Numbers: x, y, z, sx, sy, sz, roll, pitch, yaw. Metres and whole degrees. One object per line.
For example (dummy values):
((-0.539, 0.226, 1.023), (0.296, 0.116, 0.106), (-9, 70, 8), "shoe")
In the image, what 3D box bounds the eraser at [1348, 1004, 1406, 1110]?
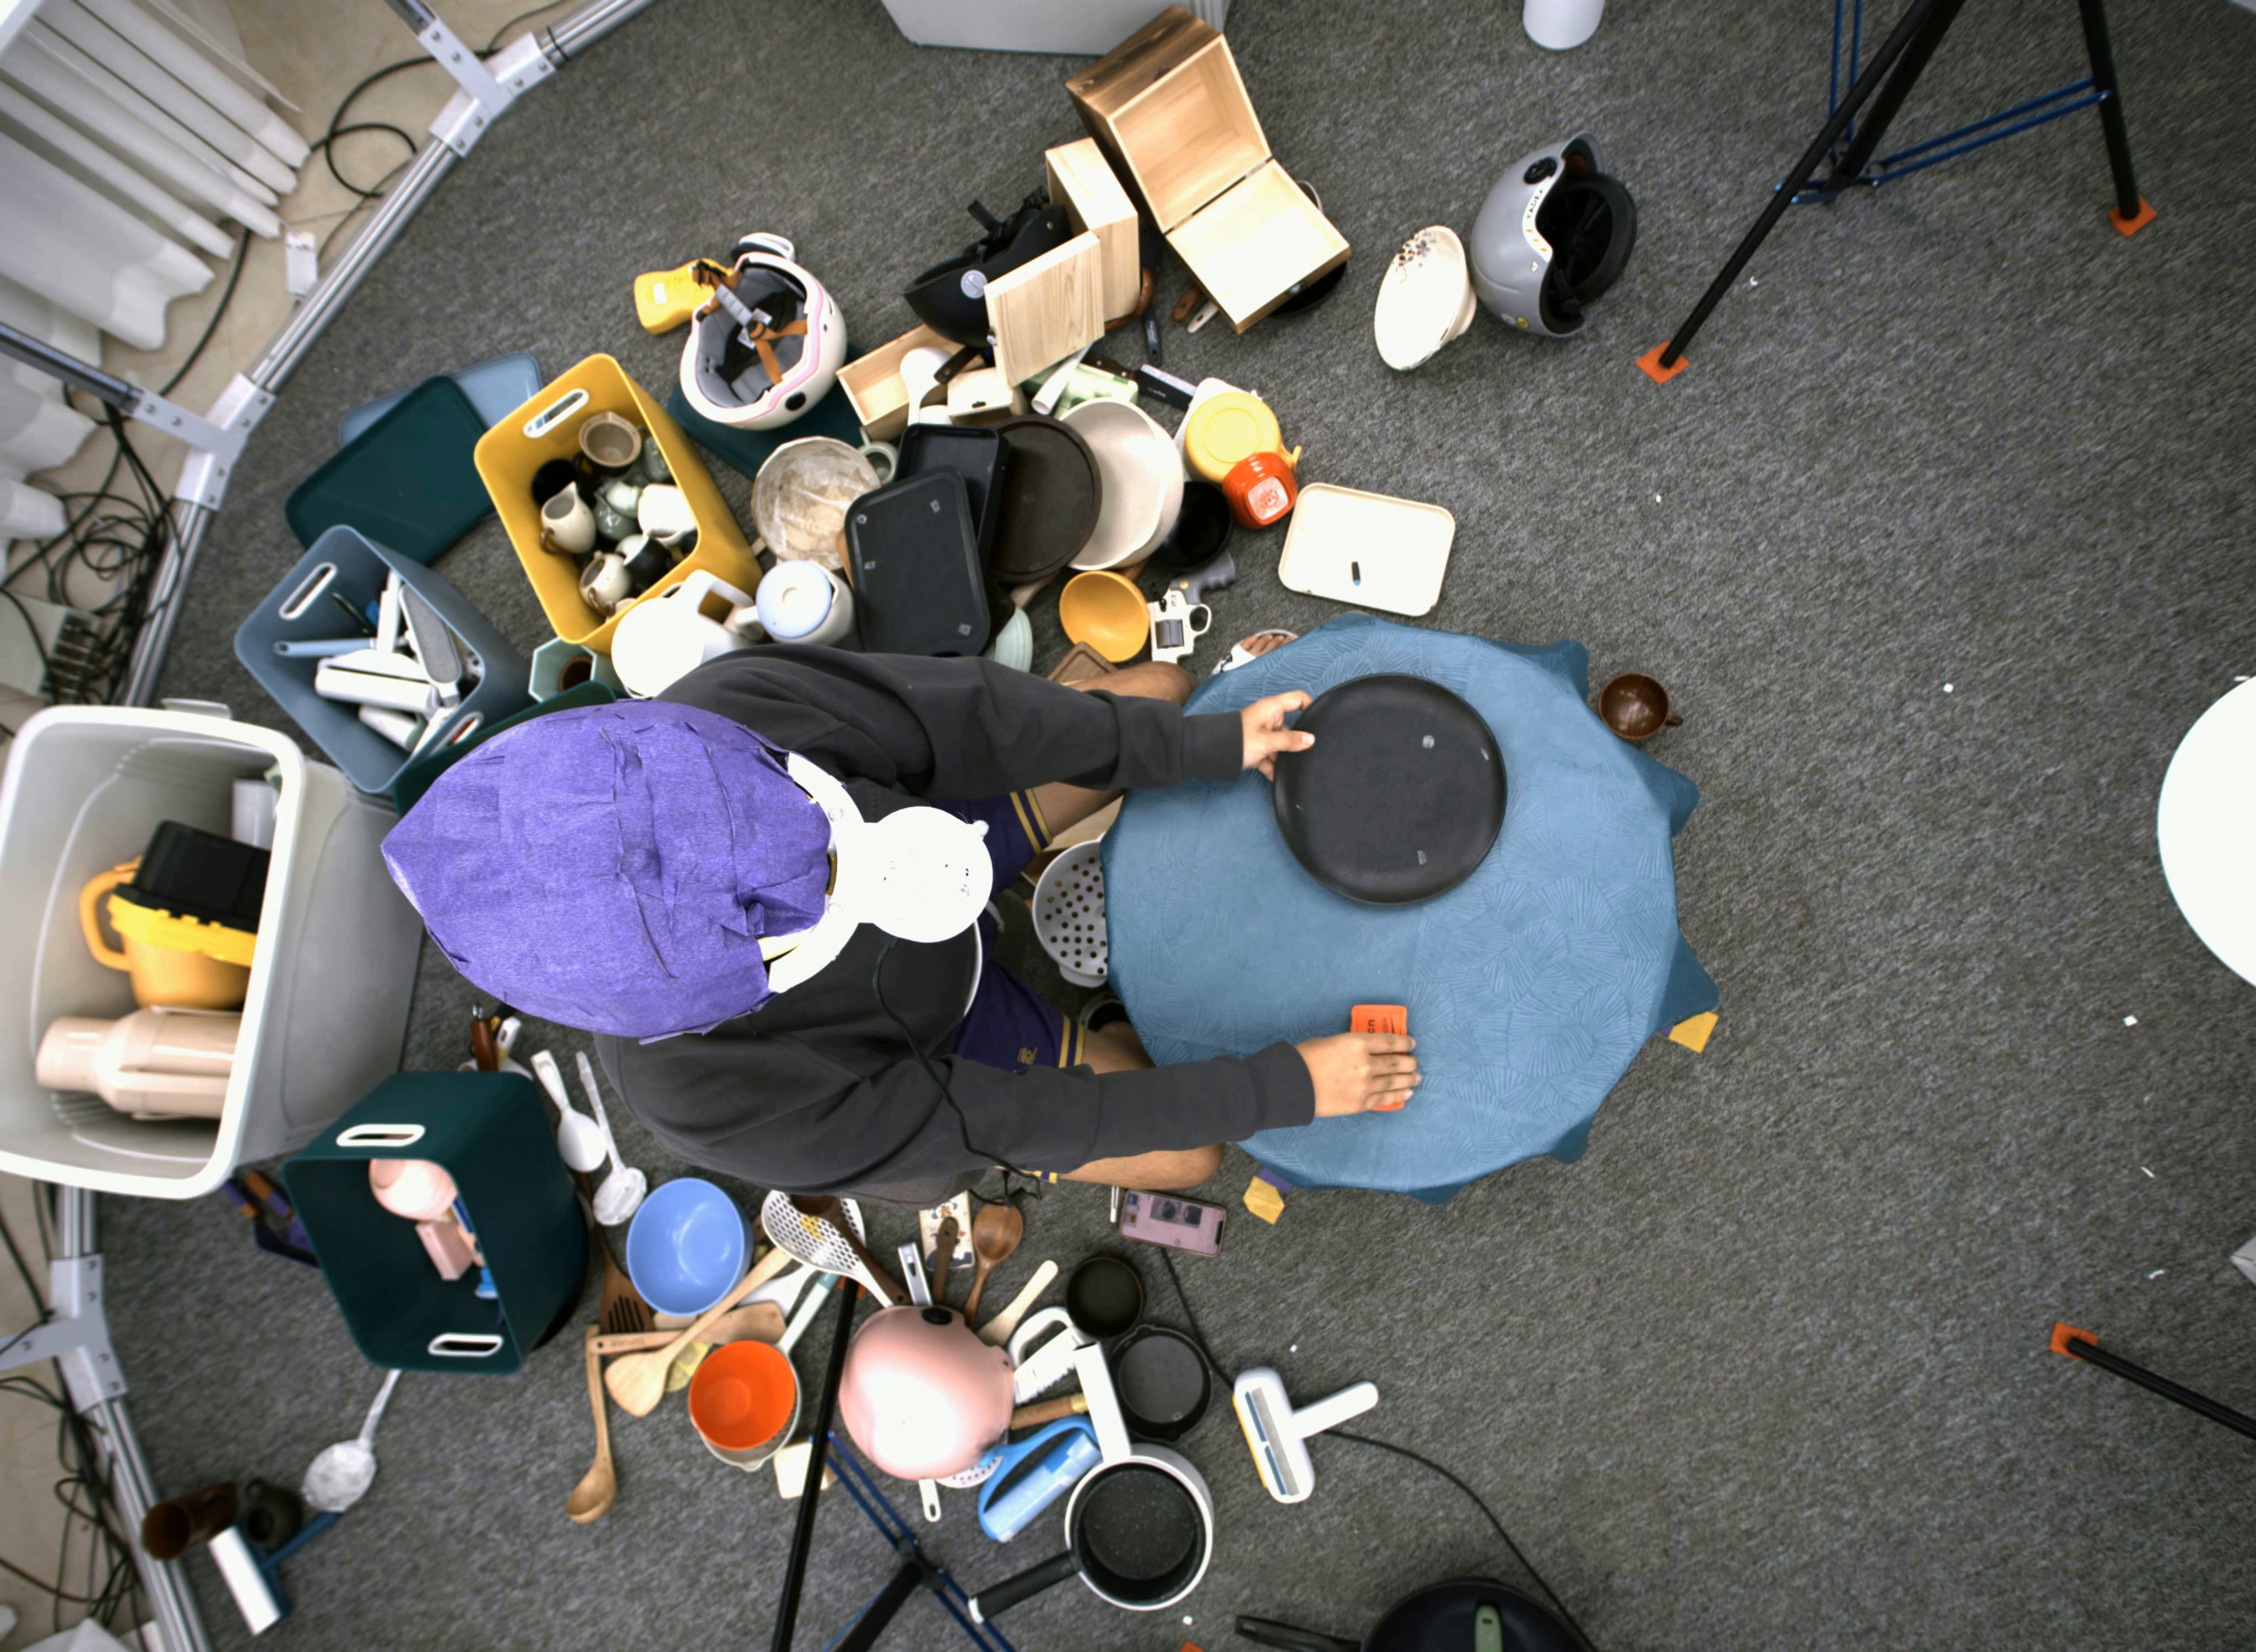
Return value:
((0.259, 0.238, 1.435), (0.059, 0.023, 0.107), (1, 84, 12), "eraser")

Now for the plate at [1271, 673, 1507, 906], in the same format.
((0.271, -0.039, 1.438), (0.245, 0.023, 0.245), (0, 94, 5), "plate")
